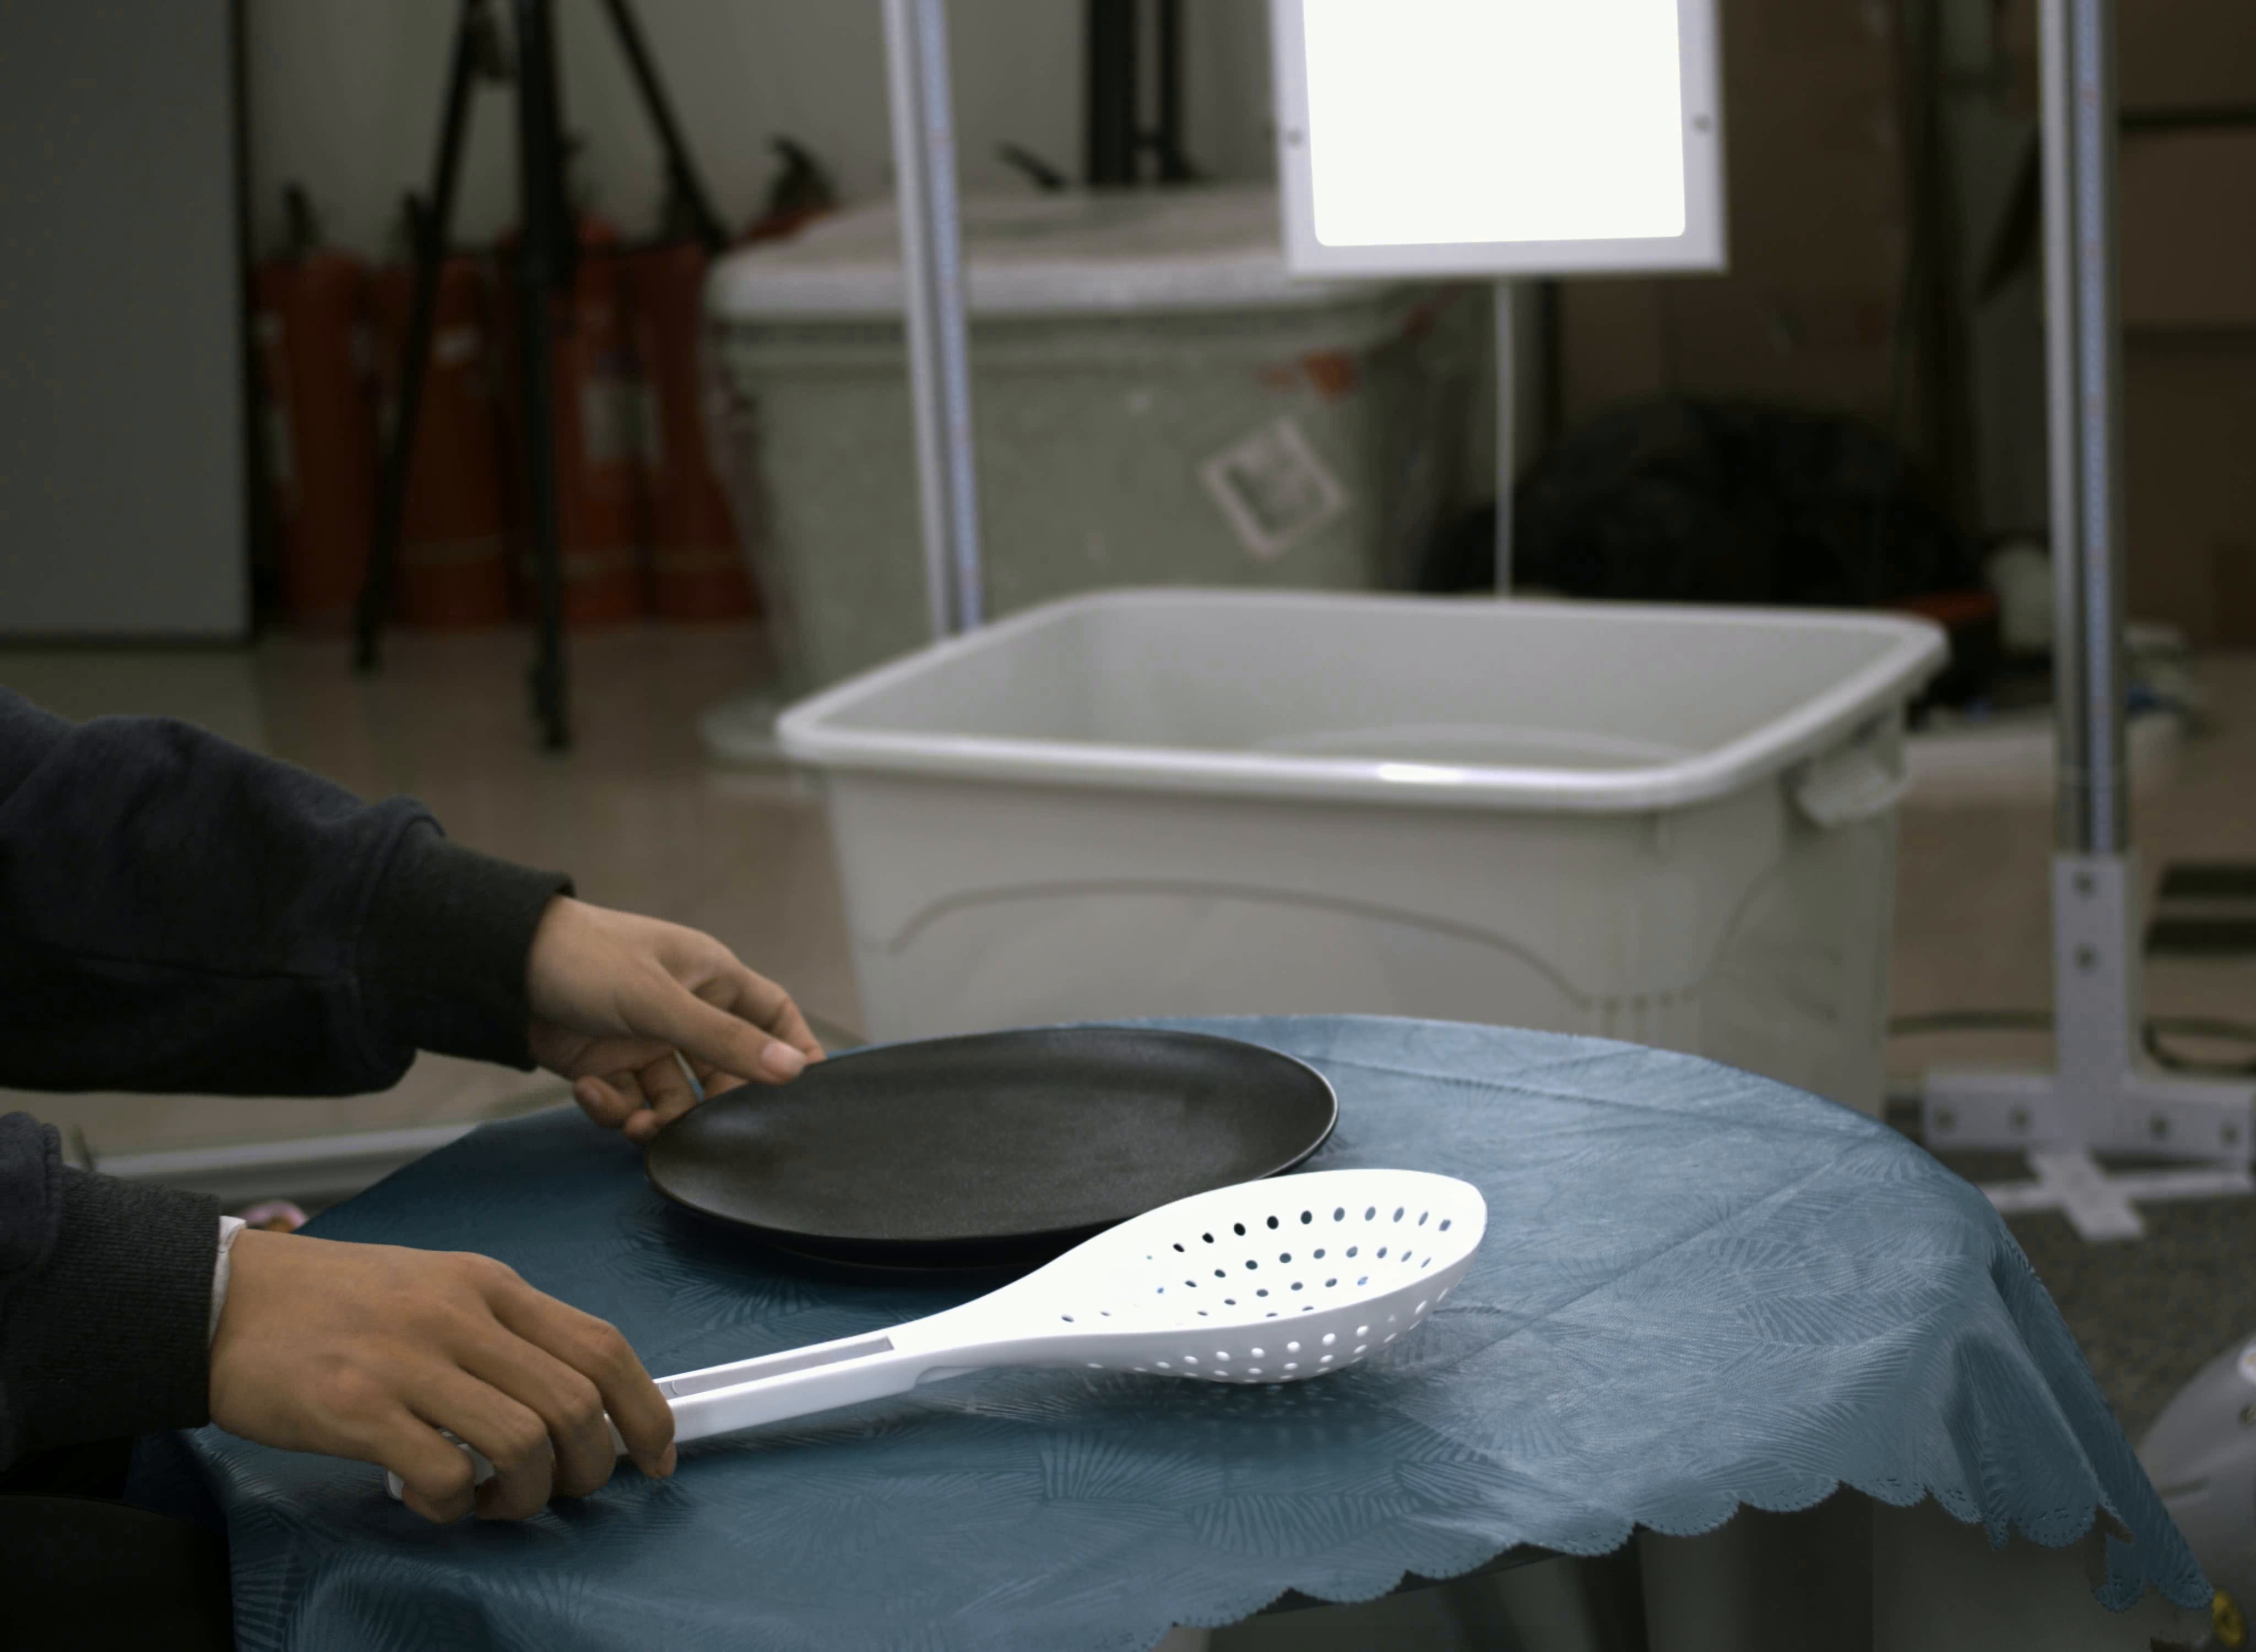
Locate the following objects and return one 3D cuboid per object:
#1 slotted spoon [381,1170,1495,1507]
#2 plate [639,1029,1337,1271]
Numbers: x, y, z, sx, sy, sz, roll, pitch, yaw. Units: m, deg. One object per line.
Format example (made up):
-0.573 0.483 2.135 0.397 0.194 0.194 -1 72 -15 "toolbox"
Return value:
-0.056 0.159 1.688 0.346 0.046 0.137 -8 12 -8 "slotted spoon"
-0.047 0.115 1.913 0.244 0.023 0.244 -5 14 0 "plate"
